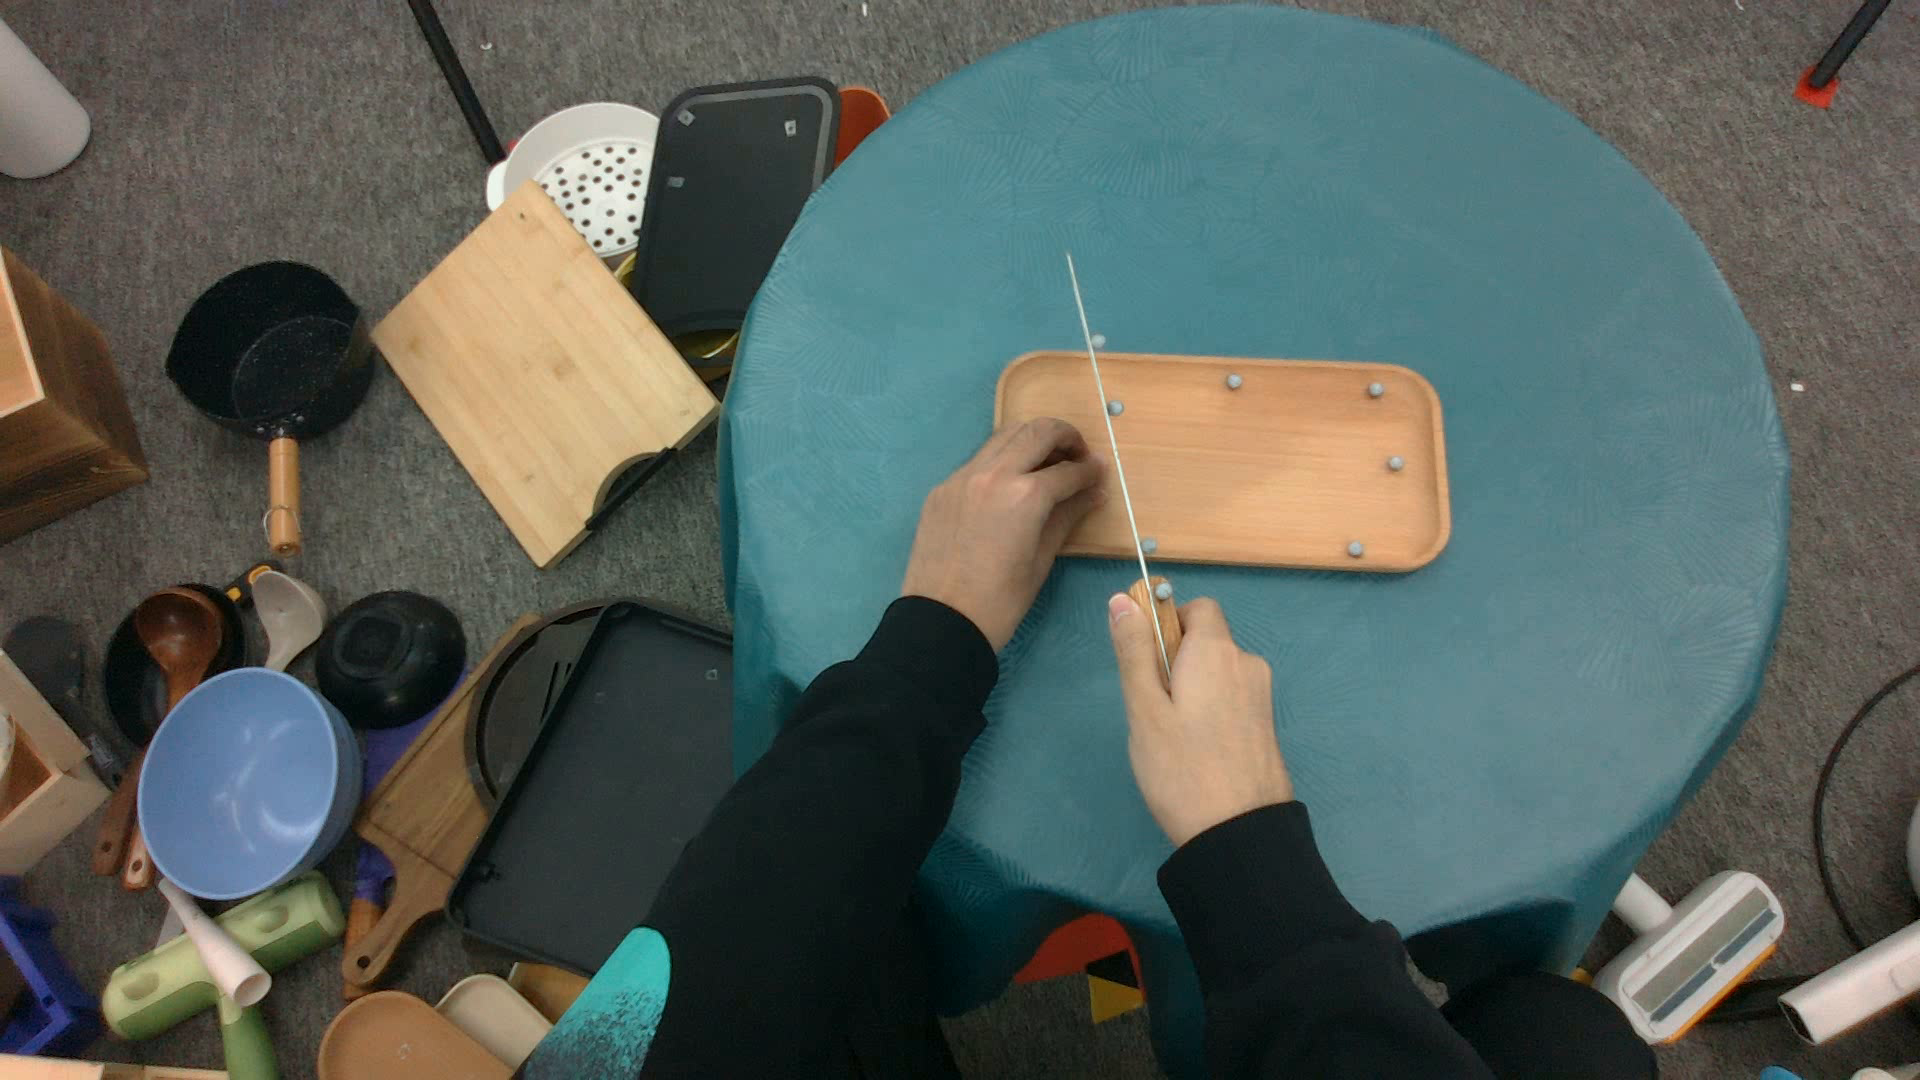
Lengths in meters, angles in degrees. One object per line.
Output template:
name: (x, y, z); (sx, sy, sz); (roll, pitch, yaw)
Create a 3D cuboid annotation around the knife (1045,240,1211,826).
knife: (0.079, -0.005, 0.687); (0.021, 0.093, 0.306); (-14, 68, 6)

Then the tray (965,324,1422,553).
tray: (0.130, -0.057, 0.773); (0.250, 0.023, 0.131); (4, 65, 3)
